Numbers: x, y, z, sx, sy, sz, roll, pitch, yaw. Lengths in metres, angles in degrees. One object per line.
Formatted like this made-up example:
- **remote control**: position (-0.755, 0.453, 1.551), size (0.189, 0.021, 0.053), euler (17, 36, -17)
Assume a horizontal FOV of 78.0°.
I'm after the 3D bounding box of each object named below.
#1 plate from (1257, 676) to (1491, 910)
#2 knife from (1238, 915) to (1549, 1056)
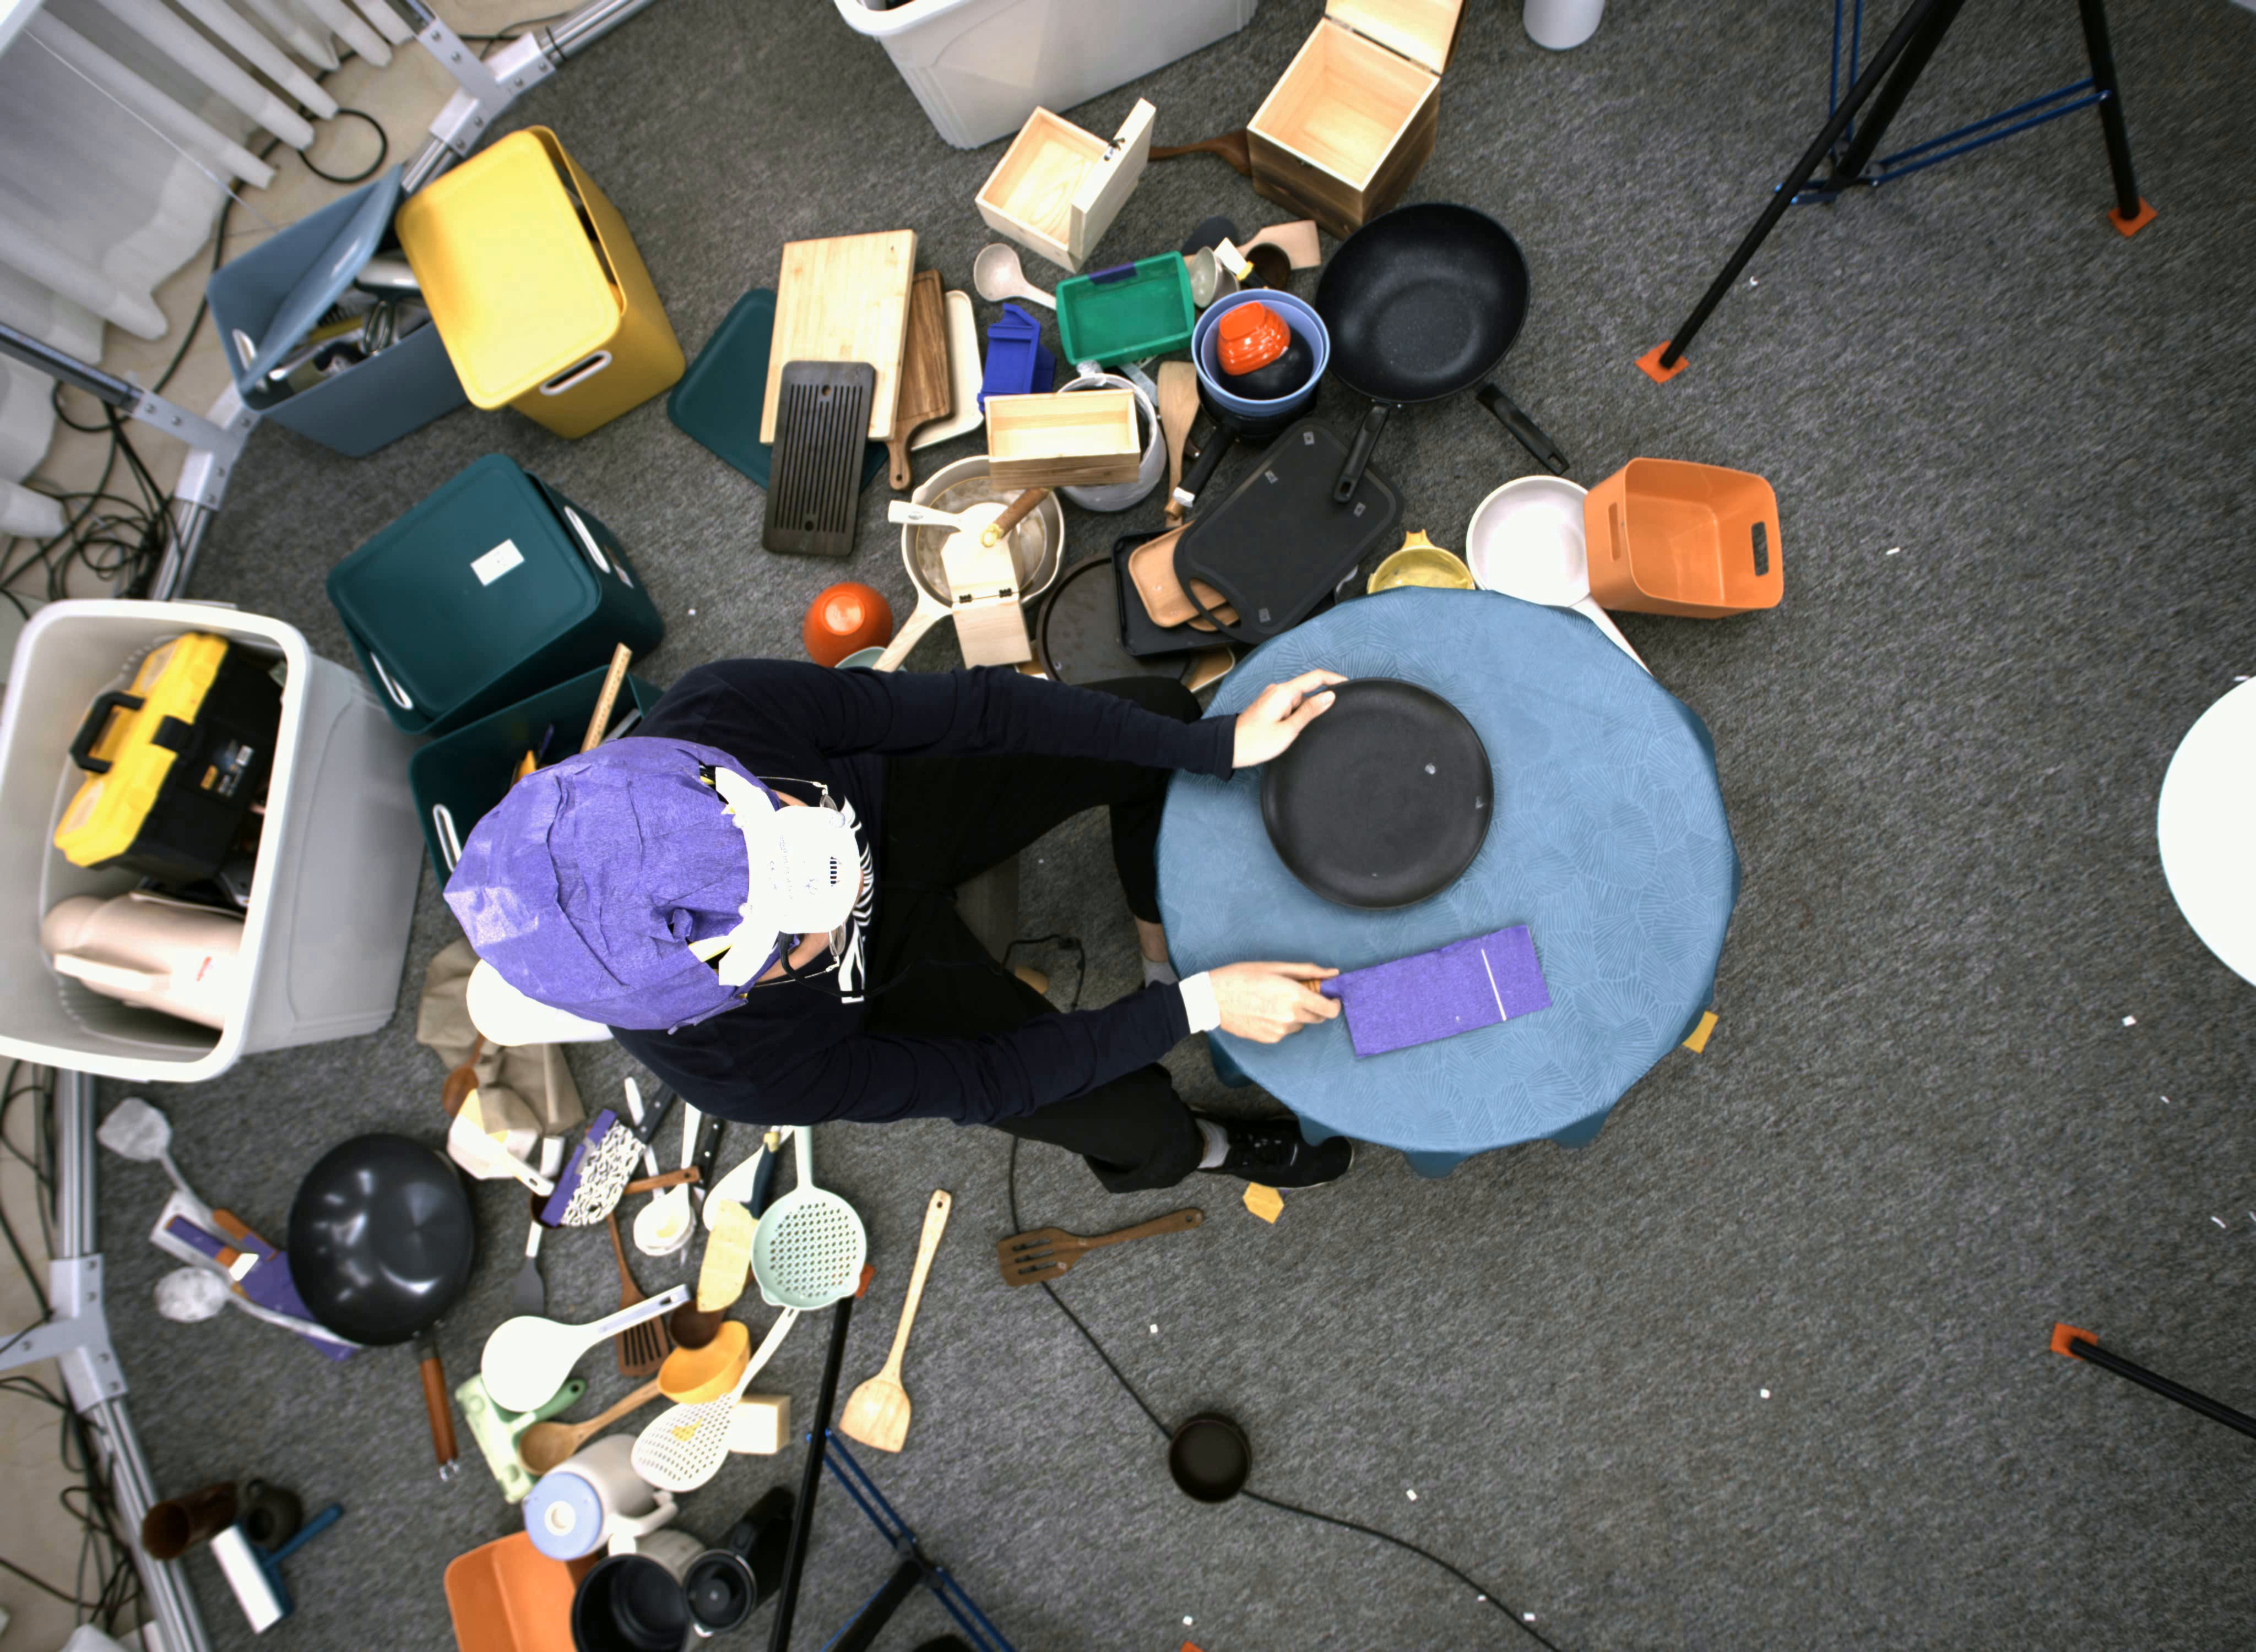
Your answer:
- **plate**: position (0.256, -0.035, 1.440), size (0.245, 0.023, 0.244), euler (0, 93, 3)
- **knife**: position (0.276, 0.182, 1.432), size (0.317, 0.032, 0.104), euler (-17, 93, 9)
